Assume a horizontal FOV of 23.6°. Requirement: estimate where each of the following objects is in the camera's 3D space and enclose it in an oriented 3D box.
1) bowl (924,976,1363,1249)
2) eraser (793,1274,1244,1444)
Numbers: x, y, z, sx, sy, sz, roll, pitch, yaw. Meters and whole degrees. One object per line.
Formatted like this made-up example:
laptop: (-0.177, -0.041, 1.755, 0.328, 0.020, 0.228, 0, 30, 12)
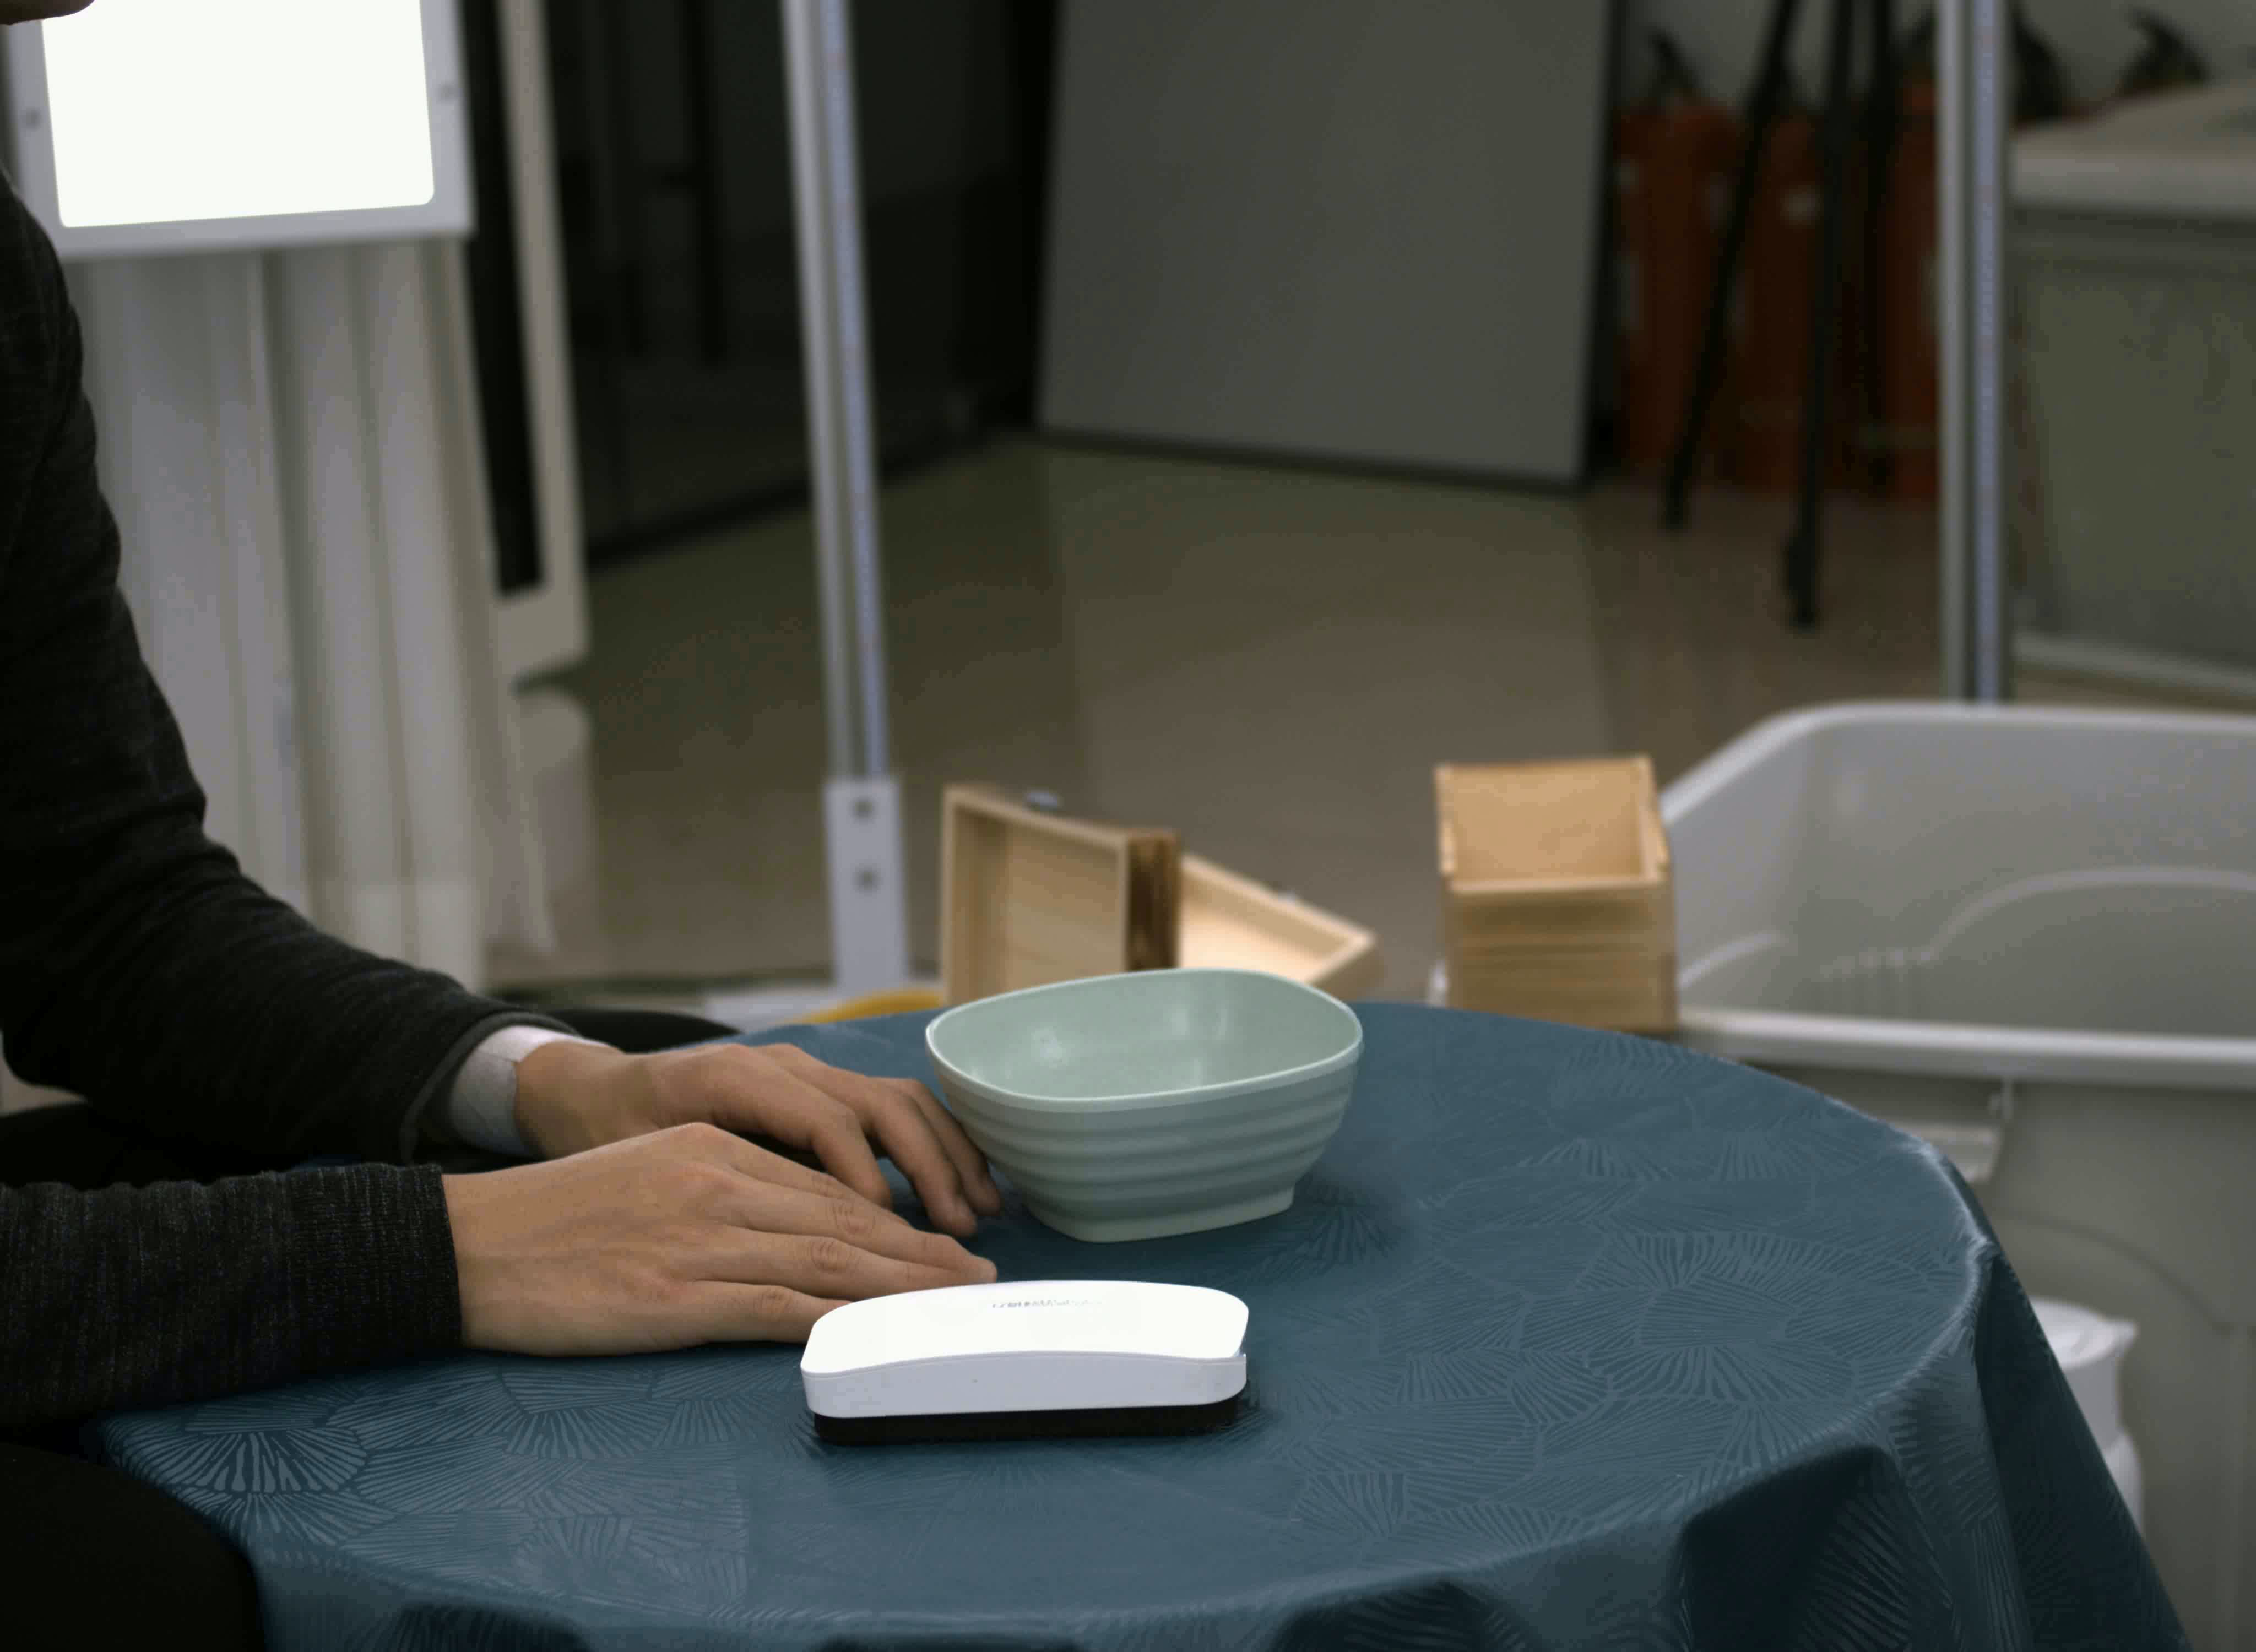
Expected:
bowl: (0.006, 0.096, 1.756, 0.149, 0.059, 0.151, -3, 13, 0)
eraser: (-0.031, 0.156, 1.572, 0.130, 0.035, 0.063, -1, 12, 6)
